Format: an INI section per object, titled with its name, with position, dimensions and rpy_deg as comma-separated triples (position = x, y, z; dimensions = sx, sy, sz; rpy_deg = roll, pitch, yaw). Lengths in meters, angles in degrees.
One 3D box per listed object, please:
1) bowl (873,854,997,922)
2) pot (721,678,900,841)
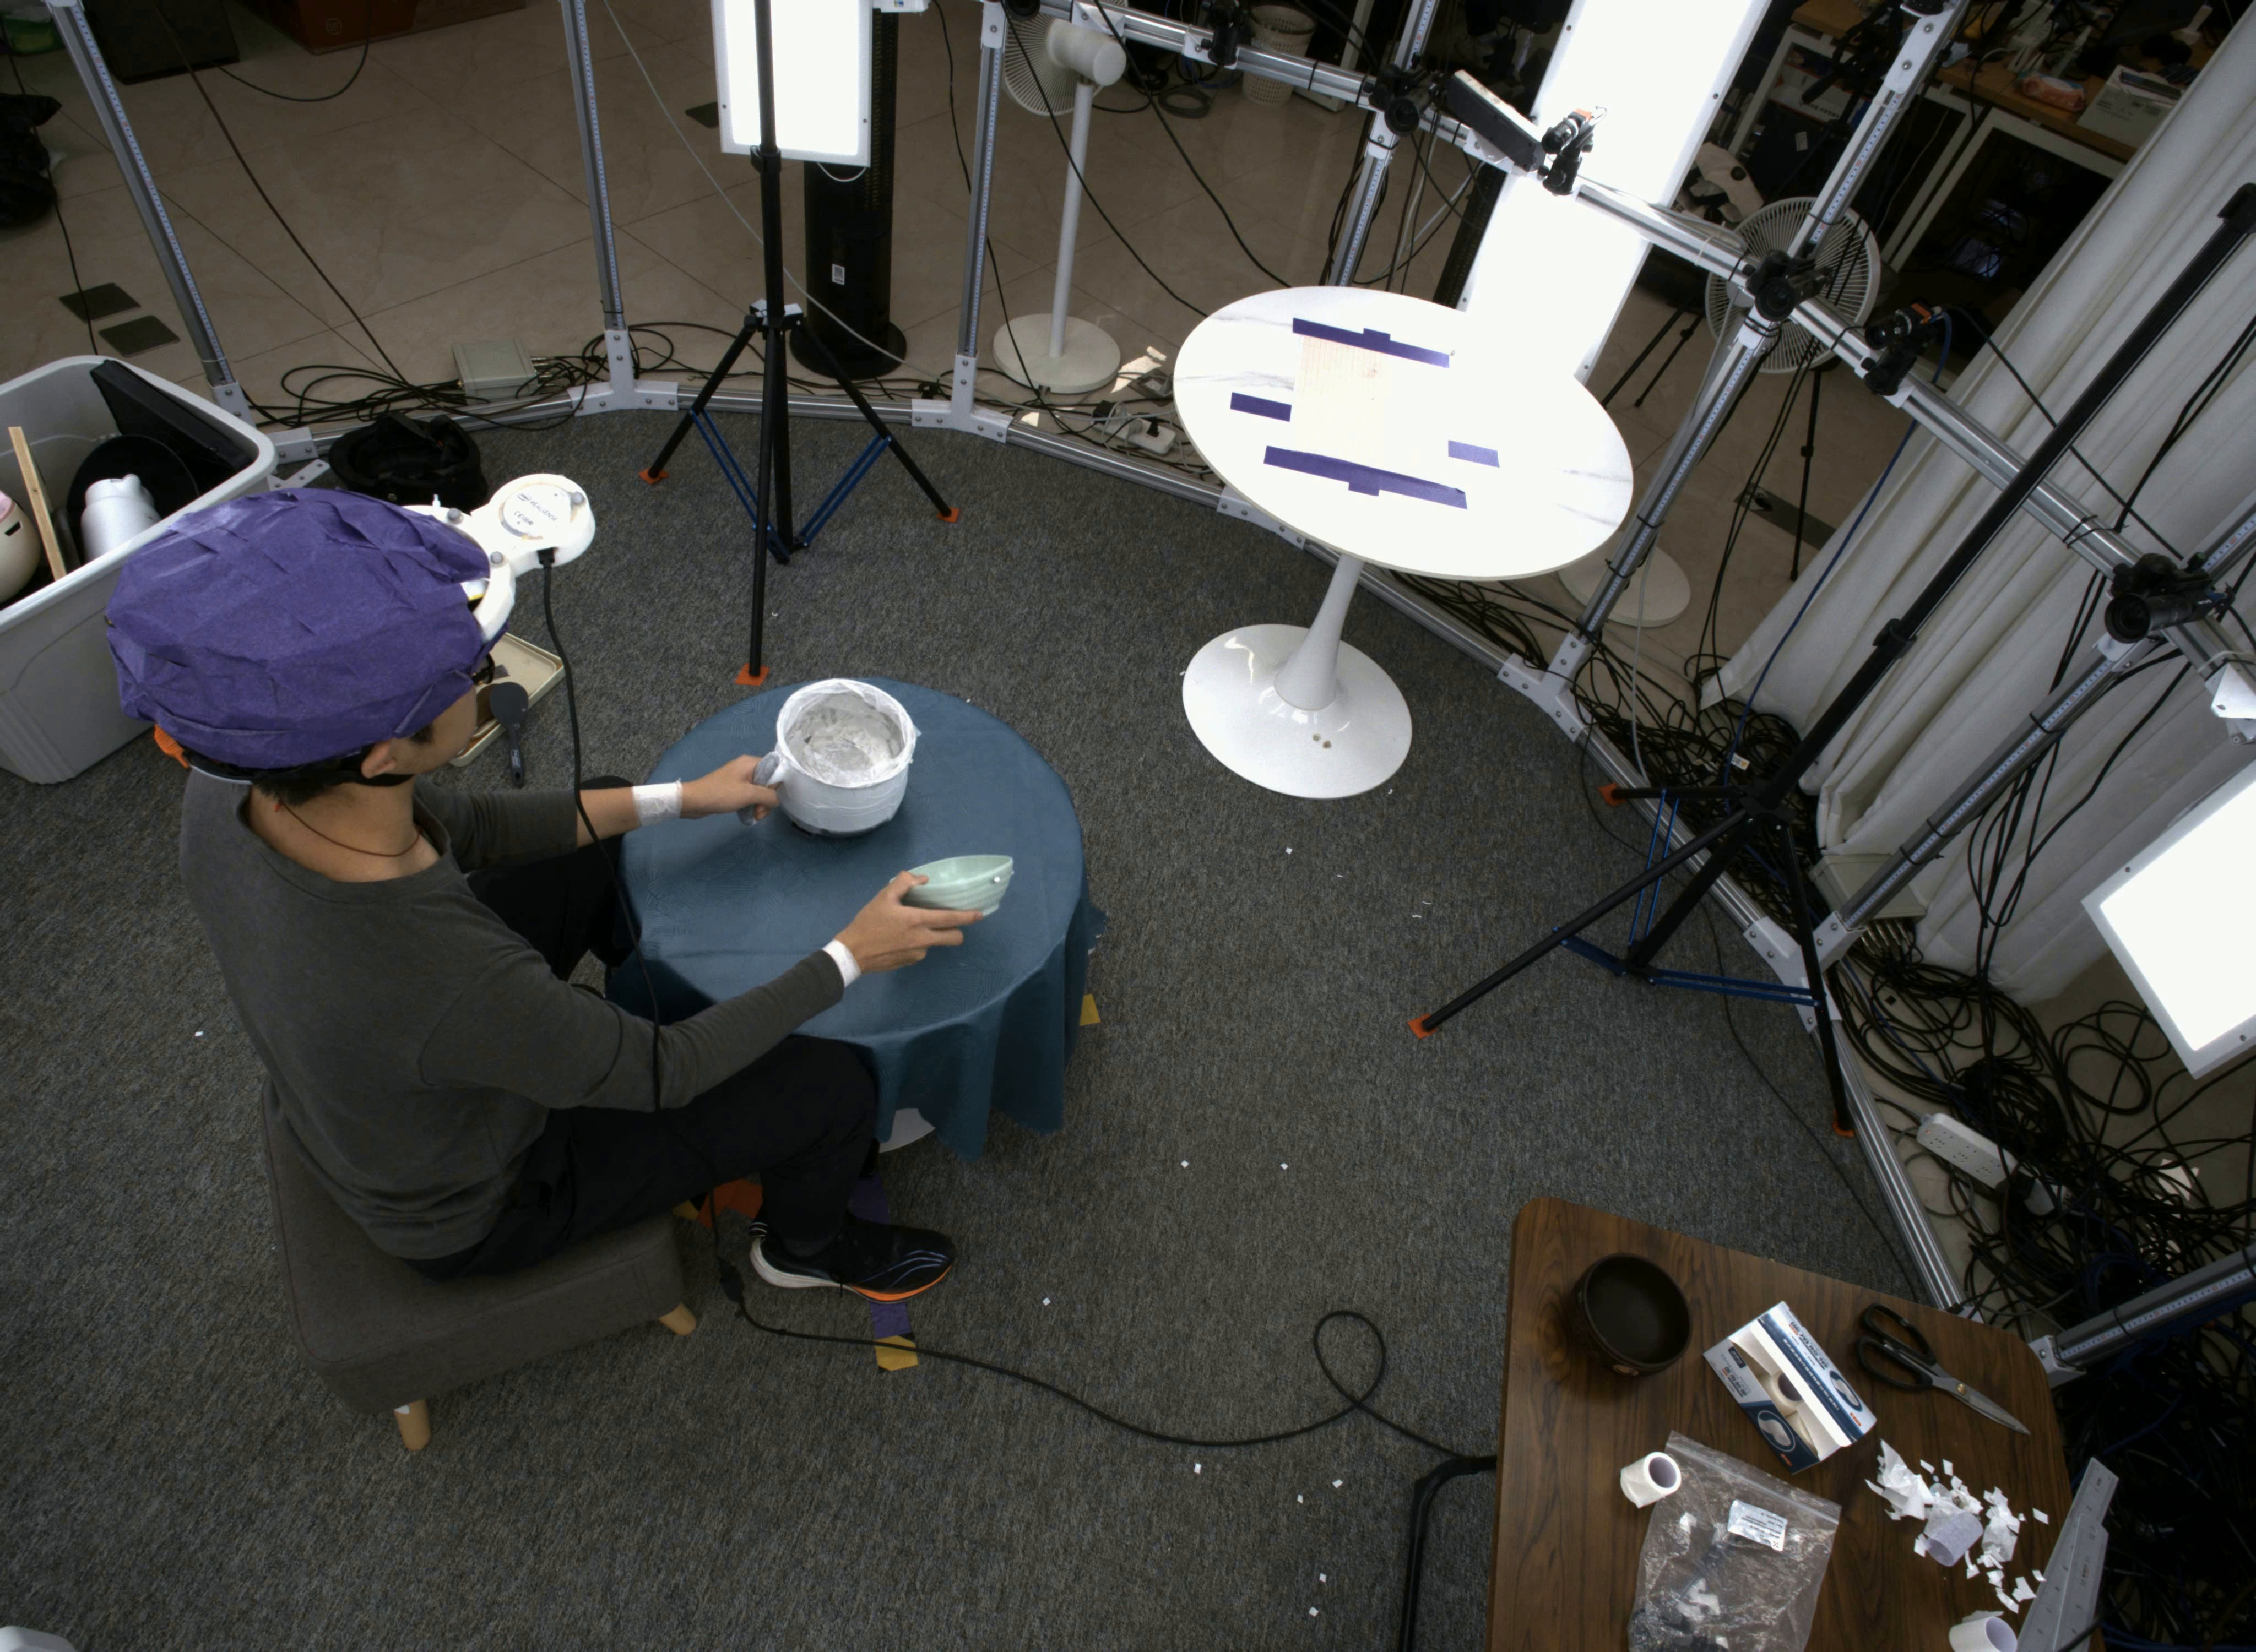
[bowl]
position = -0.233, 0.076, 1.583
dimensions = 0.149, 0.060, 0.150
rpy_deg = 0, 10, 2
[pot]
position = -0.418, -0.074, 1.691
dimensions = 0.235, 0.138, 0.175
rpy_deg = -27, 68, -34
